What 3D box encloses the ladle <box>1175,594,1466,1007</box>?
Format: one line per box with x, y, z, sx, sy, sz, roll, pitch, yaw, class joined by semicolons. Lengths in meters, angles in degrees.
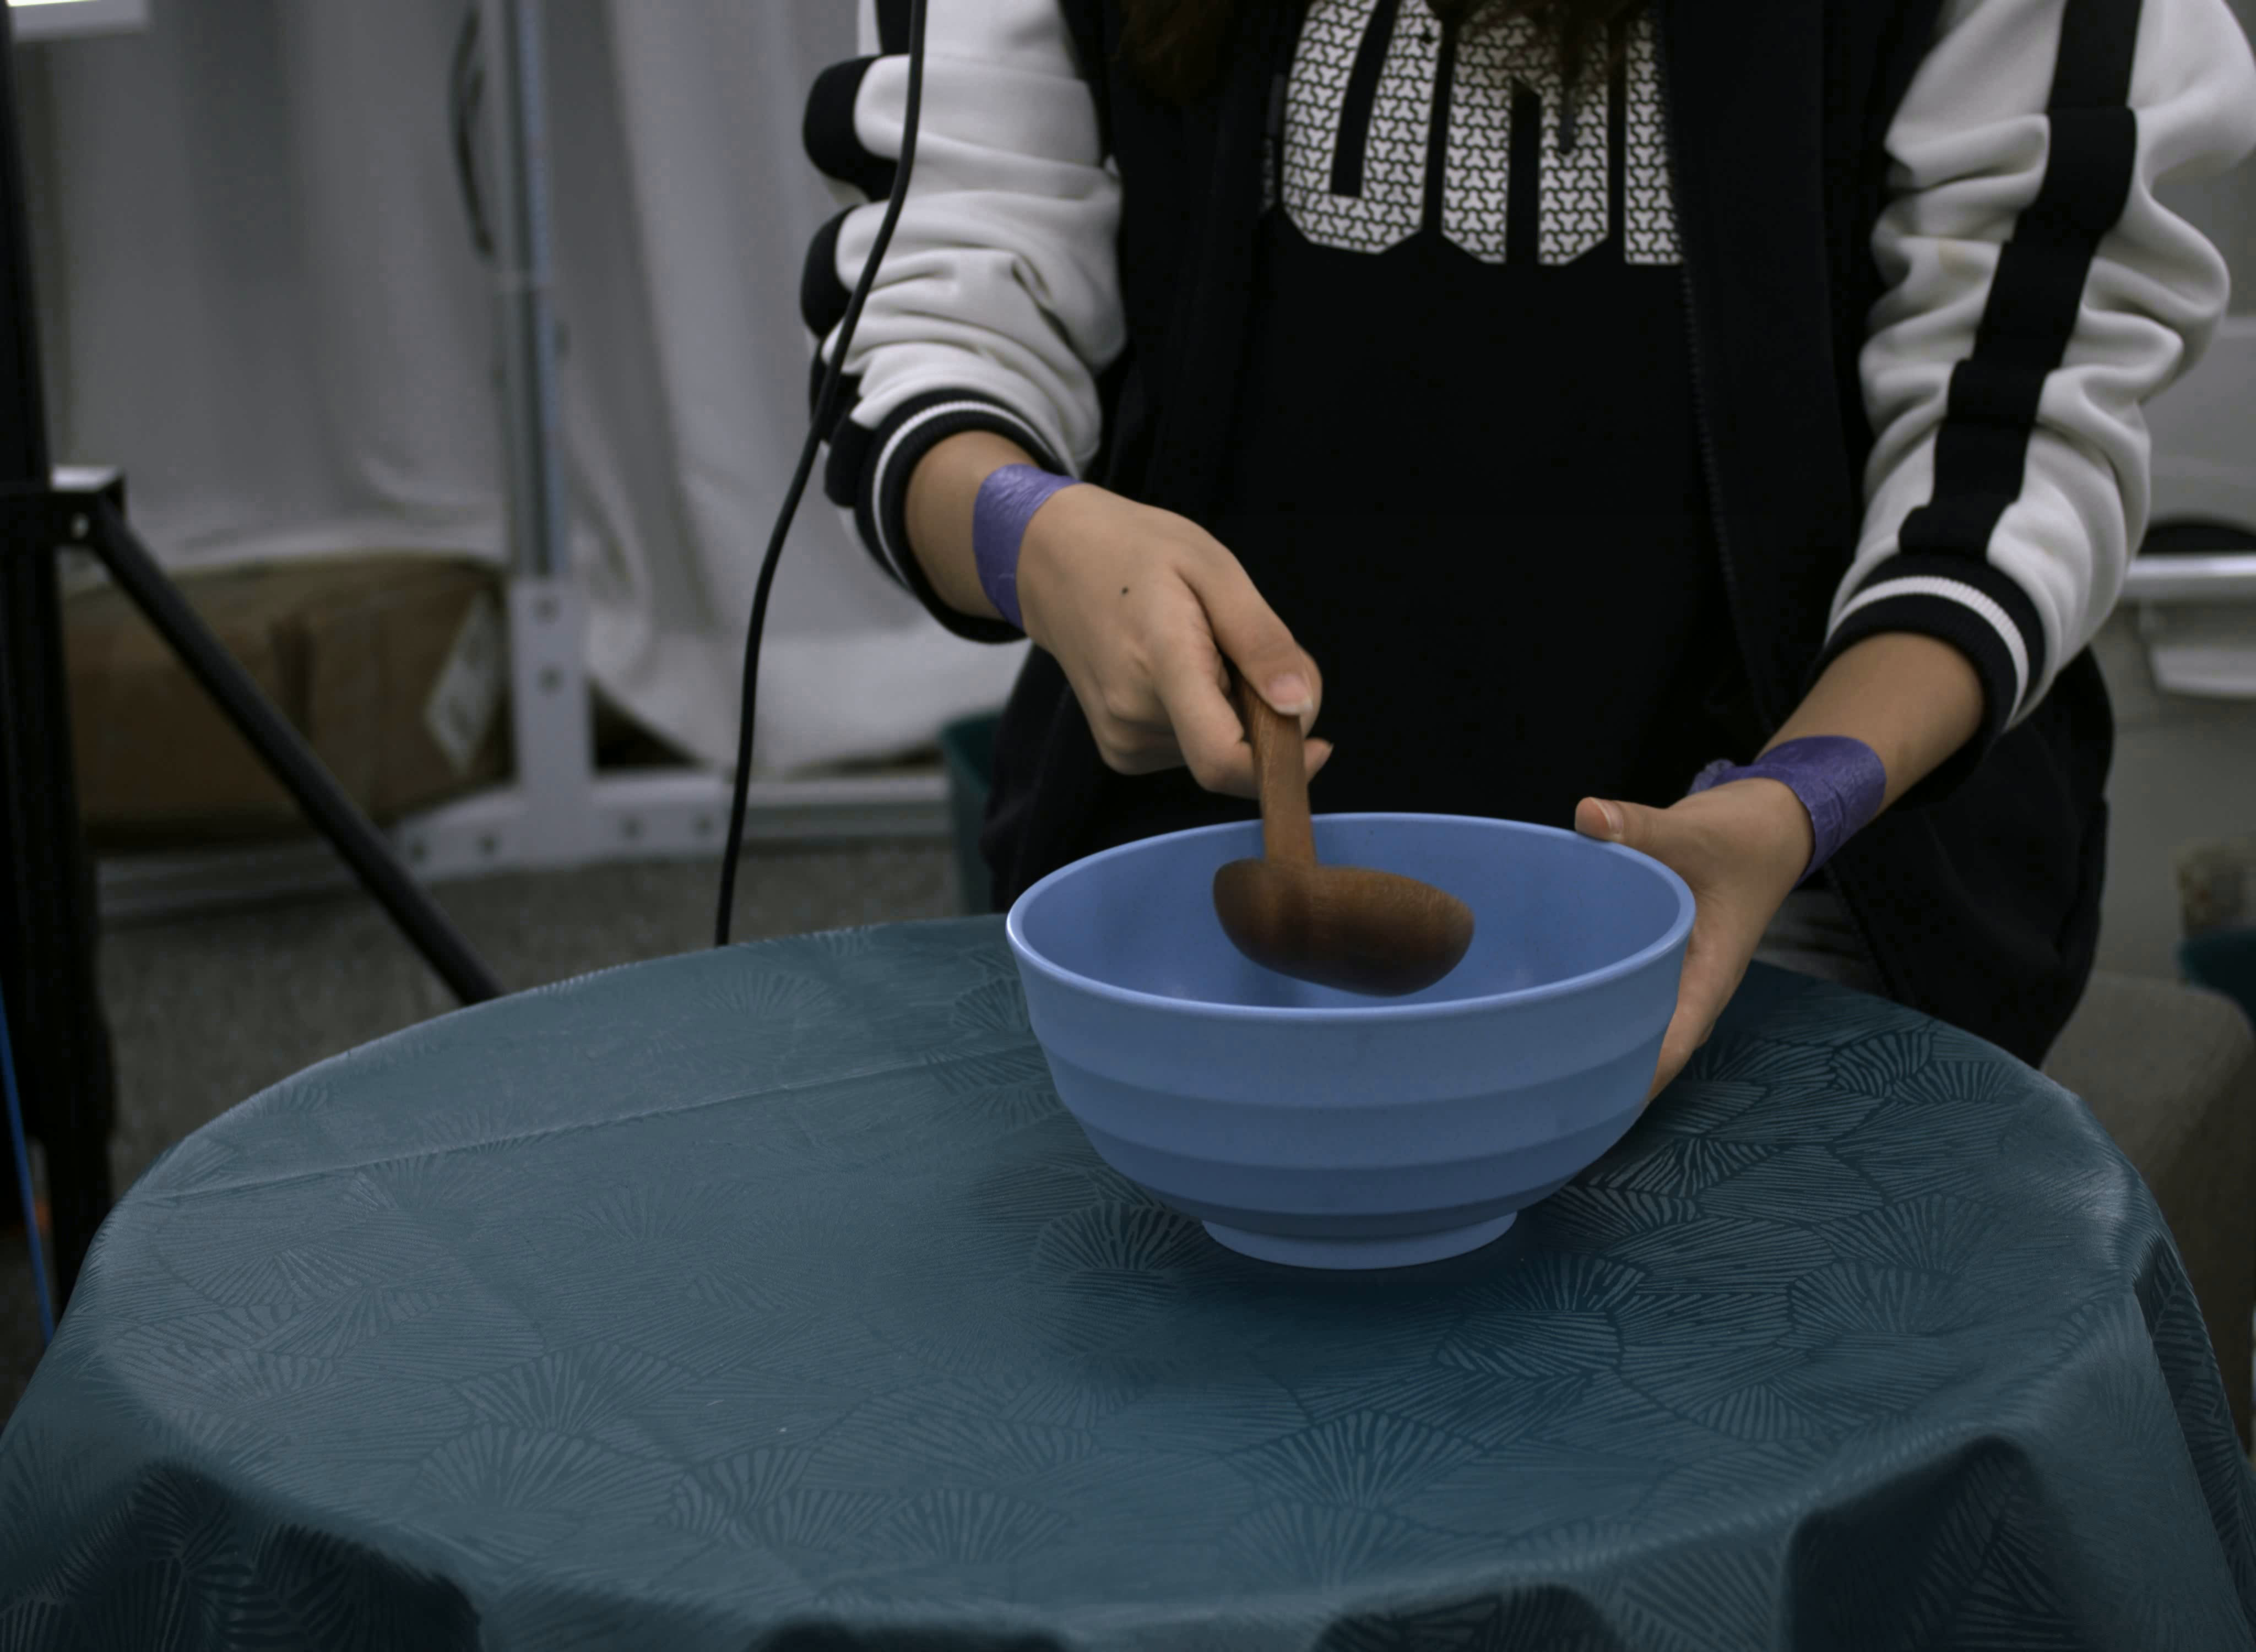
0.049;-0.023;1.583;0.075;0.065;0.263;24;25;-18;ladle

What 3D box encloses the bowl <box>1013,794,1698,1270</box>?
0.070;0.066;1.523;0.196;0.095;0.197;-8;17;1;bowl
